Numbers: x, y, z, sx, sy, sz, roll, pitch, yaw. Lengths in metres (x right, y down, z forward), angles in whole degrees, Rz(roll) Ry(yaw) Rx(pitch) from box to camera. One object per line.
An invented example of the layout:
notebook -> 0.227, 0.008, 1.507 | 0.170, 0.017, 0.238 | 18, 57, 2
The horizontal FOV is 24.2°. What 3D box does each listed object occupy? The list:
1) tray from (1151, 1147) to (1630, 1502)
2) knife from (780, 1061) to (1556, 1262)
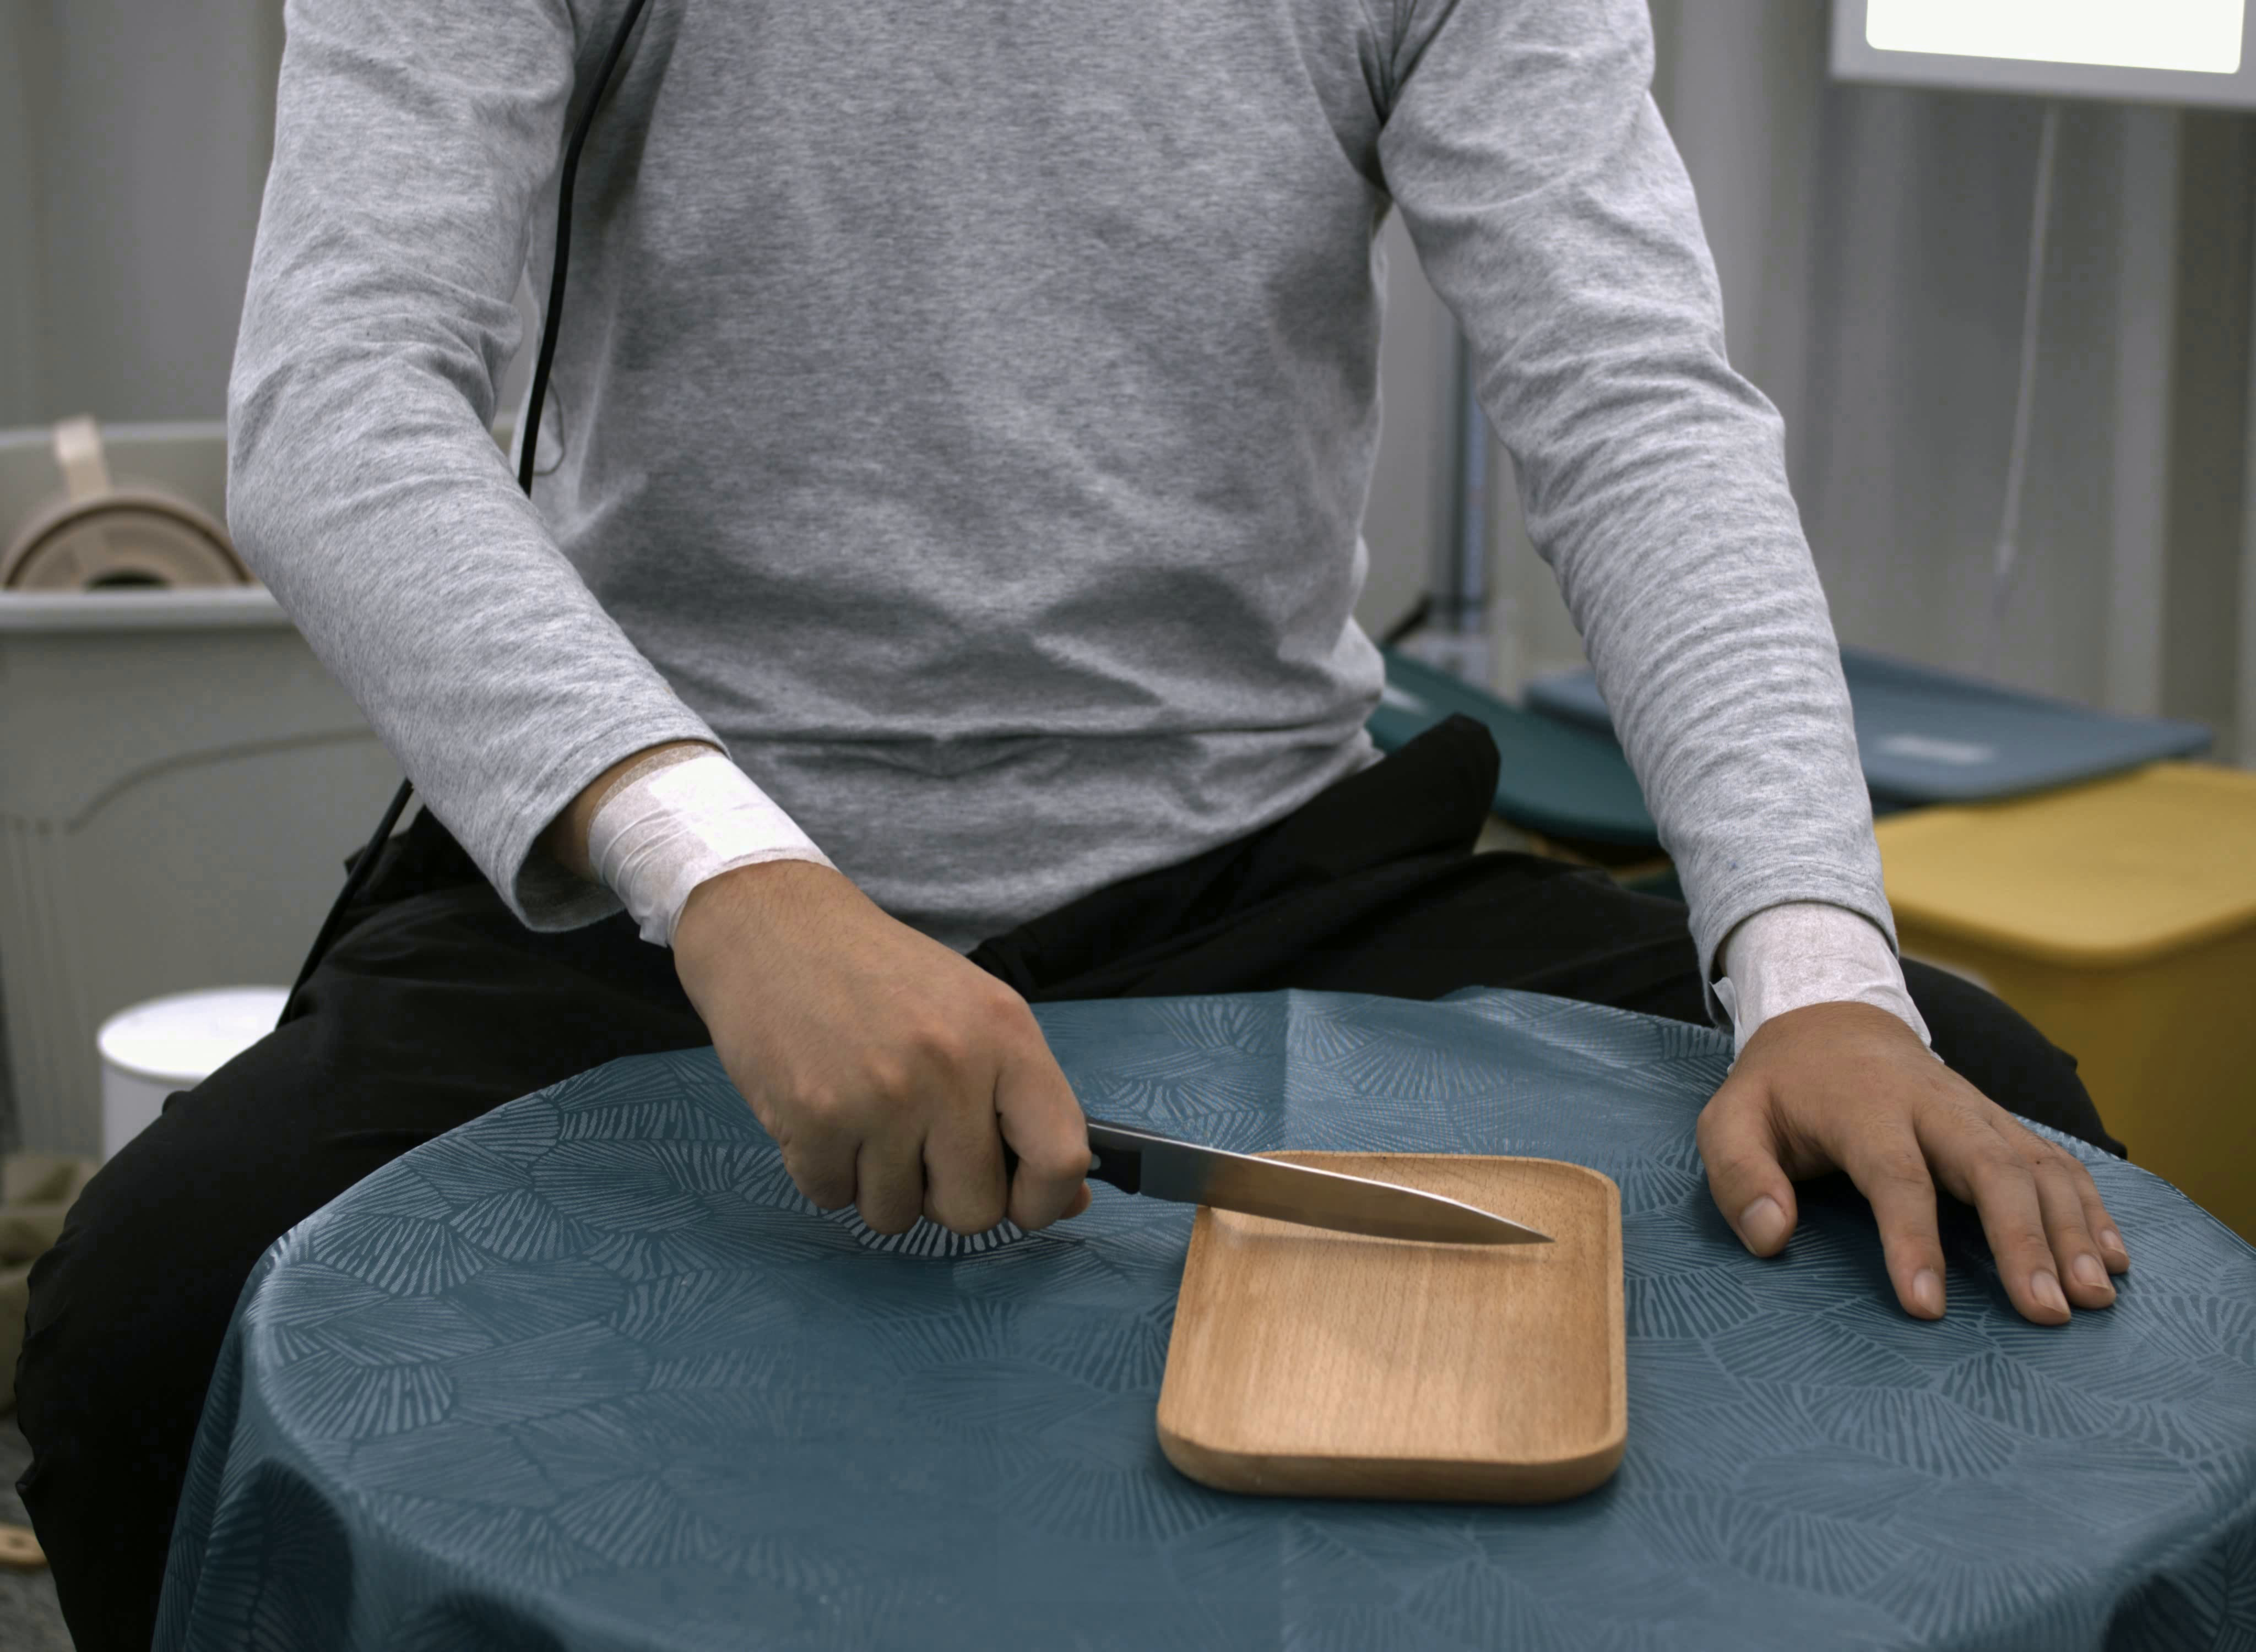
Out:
tray -> 0.078, 0.139, 1.501 | 0.130, 0.023, 0.250 | 5, 15, 4
knife -> 0.011, 0.101, 1.563 | 0.237, 0.025, 0.016 | 12, 34, 8
